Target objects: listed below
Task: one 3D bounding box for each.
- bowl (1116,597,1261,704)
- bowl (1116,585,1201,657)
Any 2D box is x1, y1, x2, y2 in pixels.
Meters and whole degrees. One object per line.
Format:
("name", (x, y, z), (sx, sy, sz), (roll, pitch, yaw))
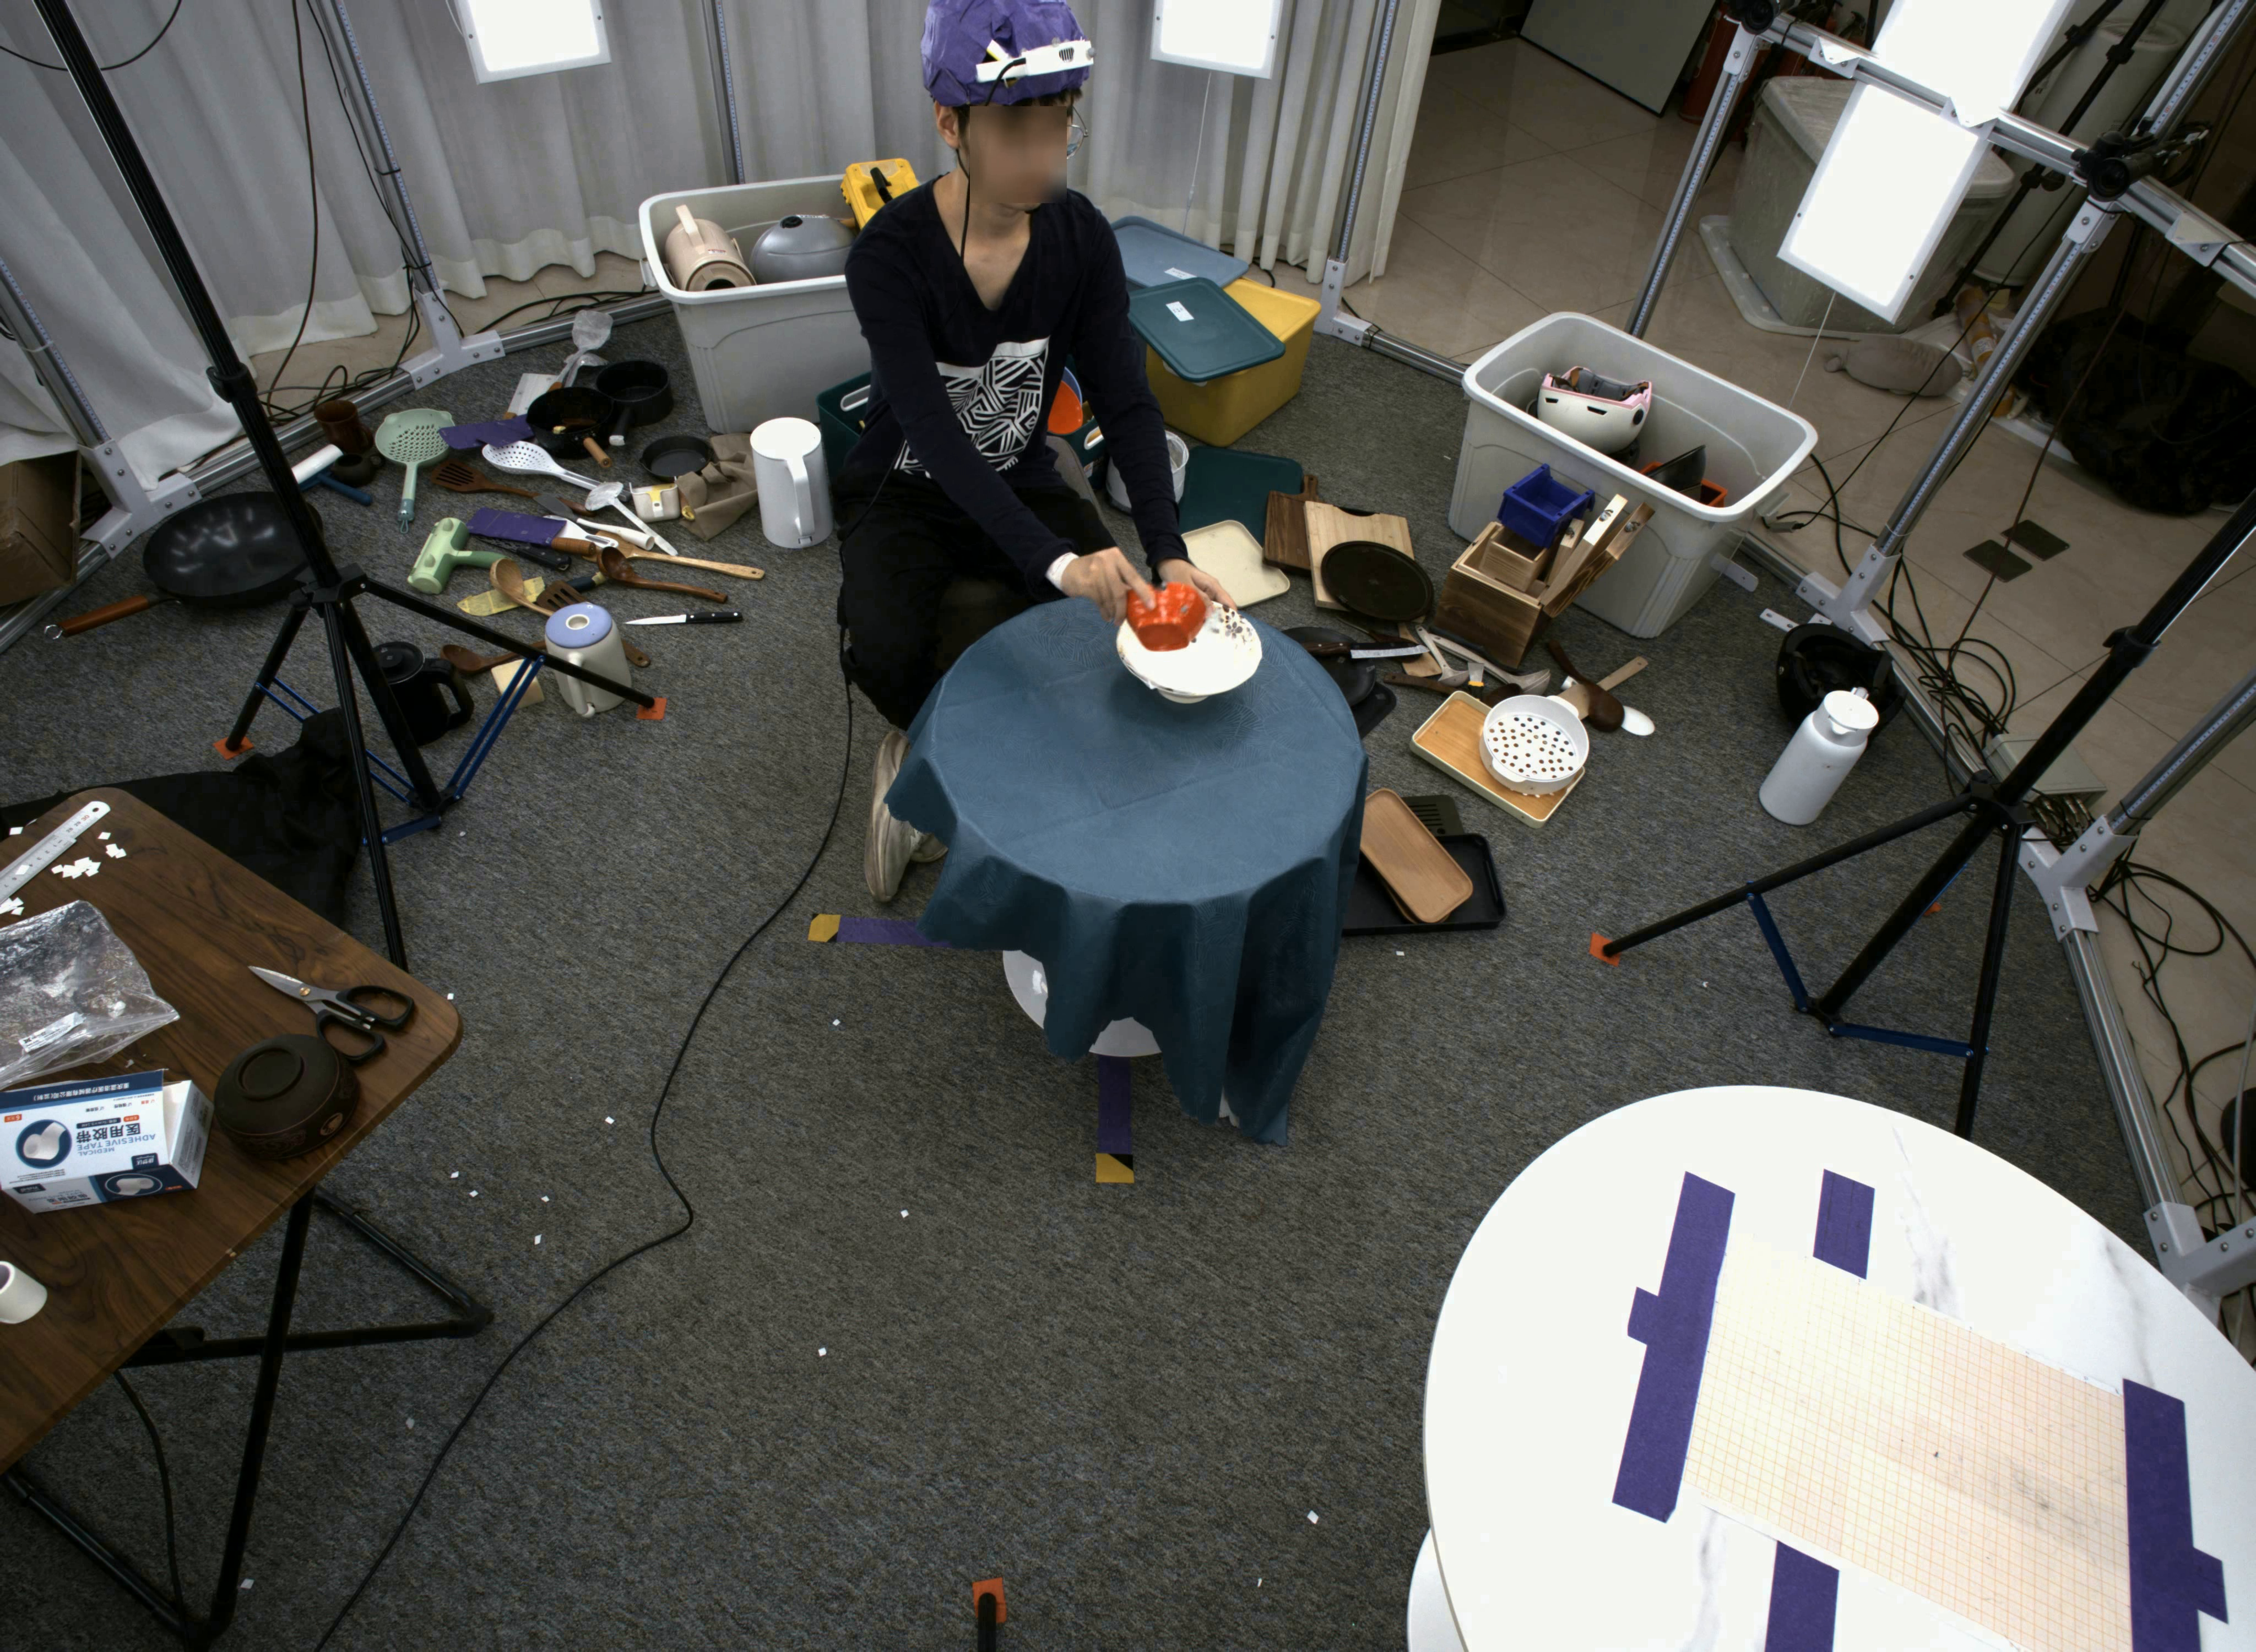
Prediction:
("bowl", (0.083, -0.231, 1.824), (0.204, 0.076, 0.209), (2, 48, -3))
("bowl", (0.038, -0.263, 1.695), (0.119, 0.116, 0.052), (6, 62, 1))
